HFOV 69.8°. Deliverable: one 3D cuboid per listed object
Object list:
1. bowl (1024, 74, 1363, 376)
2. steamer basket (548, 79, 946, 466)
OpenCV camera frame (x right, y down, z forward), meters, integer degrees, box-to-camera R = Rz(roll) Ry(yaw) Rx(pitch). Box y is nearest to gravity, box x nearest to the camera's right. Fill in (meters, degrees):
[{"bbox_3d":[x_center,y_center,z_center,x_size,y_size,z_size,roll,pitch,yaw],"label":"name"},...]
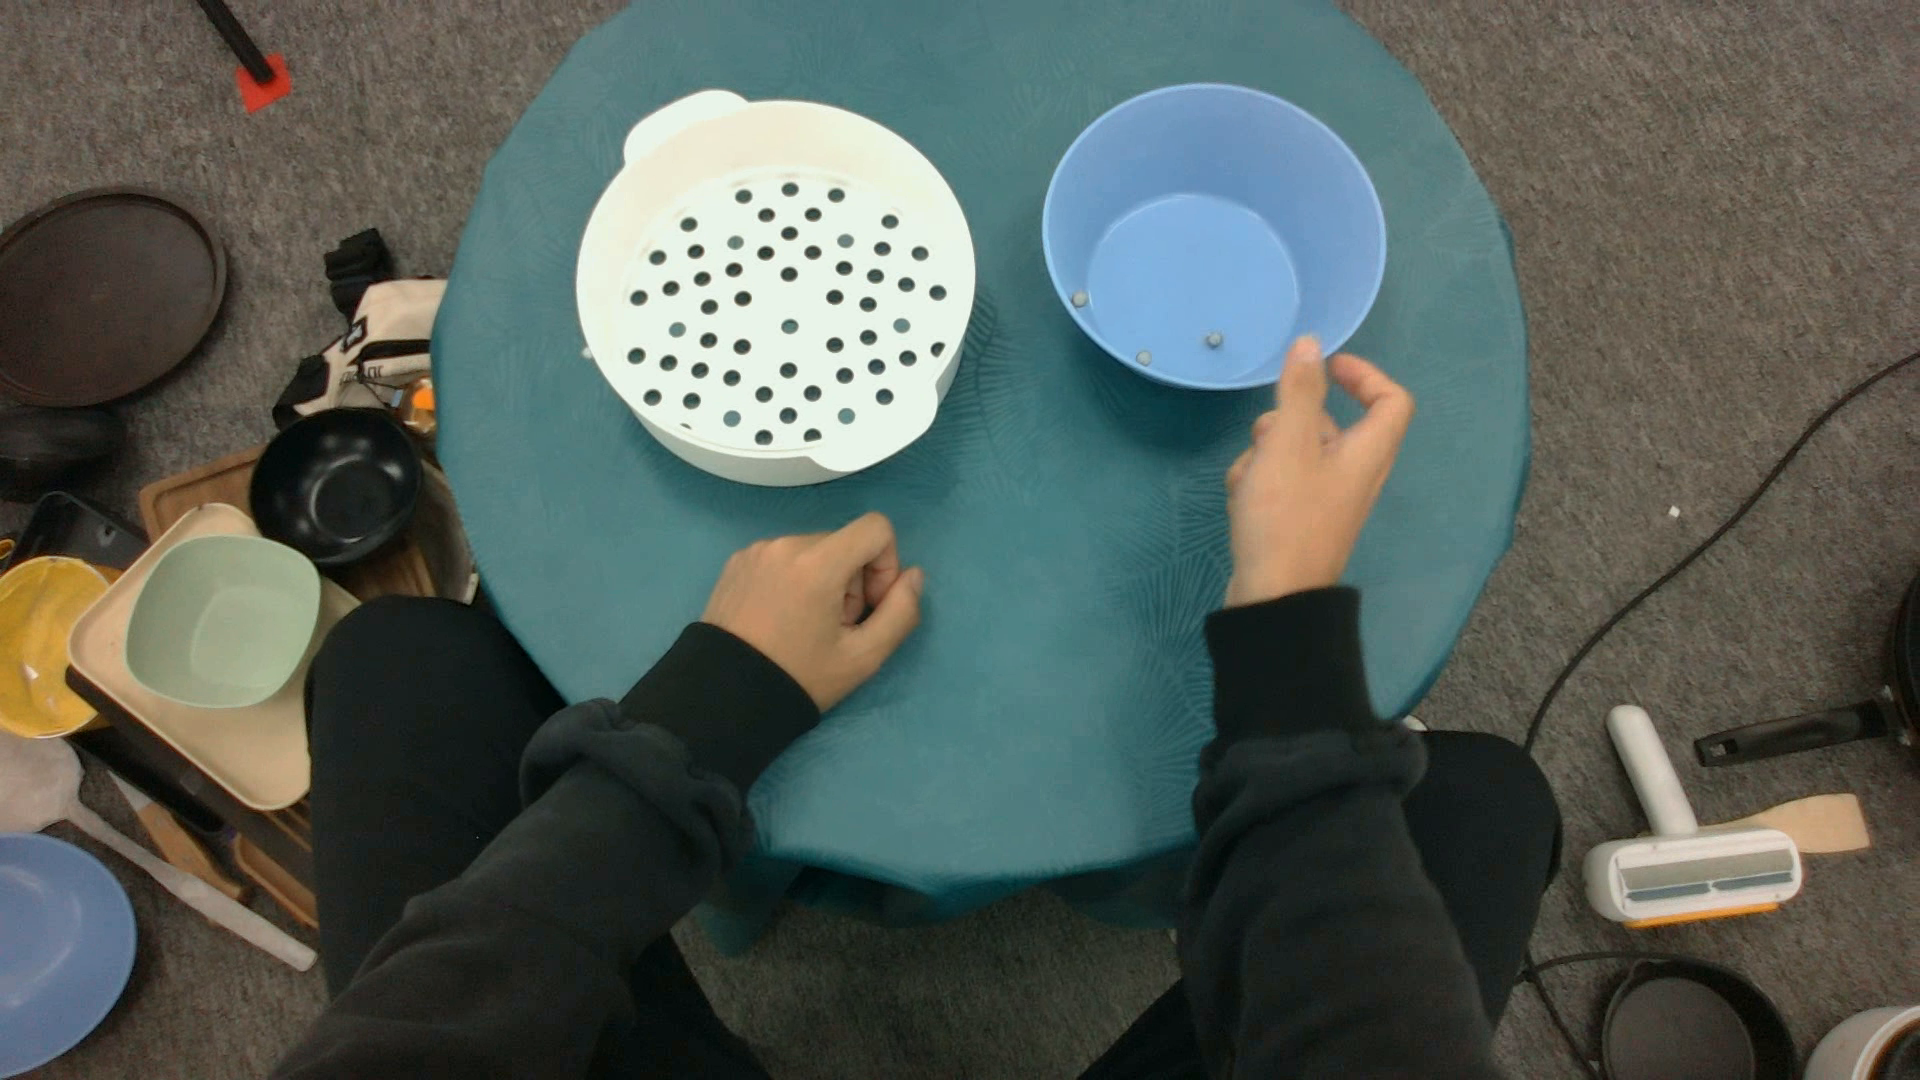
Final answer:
[{"bbox_3d":[0.120,-0.157,0.740,0.176,0.070,0.176,0,72,-1],"label":"bowl"},{"bbox_3d":[-0.108,-0.137,0.726,0.202,0.069,0.231,-31,73,-12],"label":"steamer basket"}]
